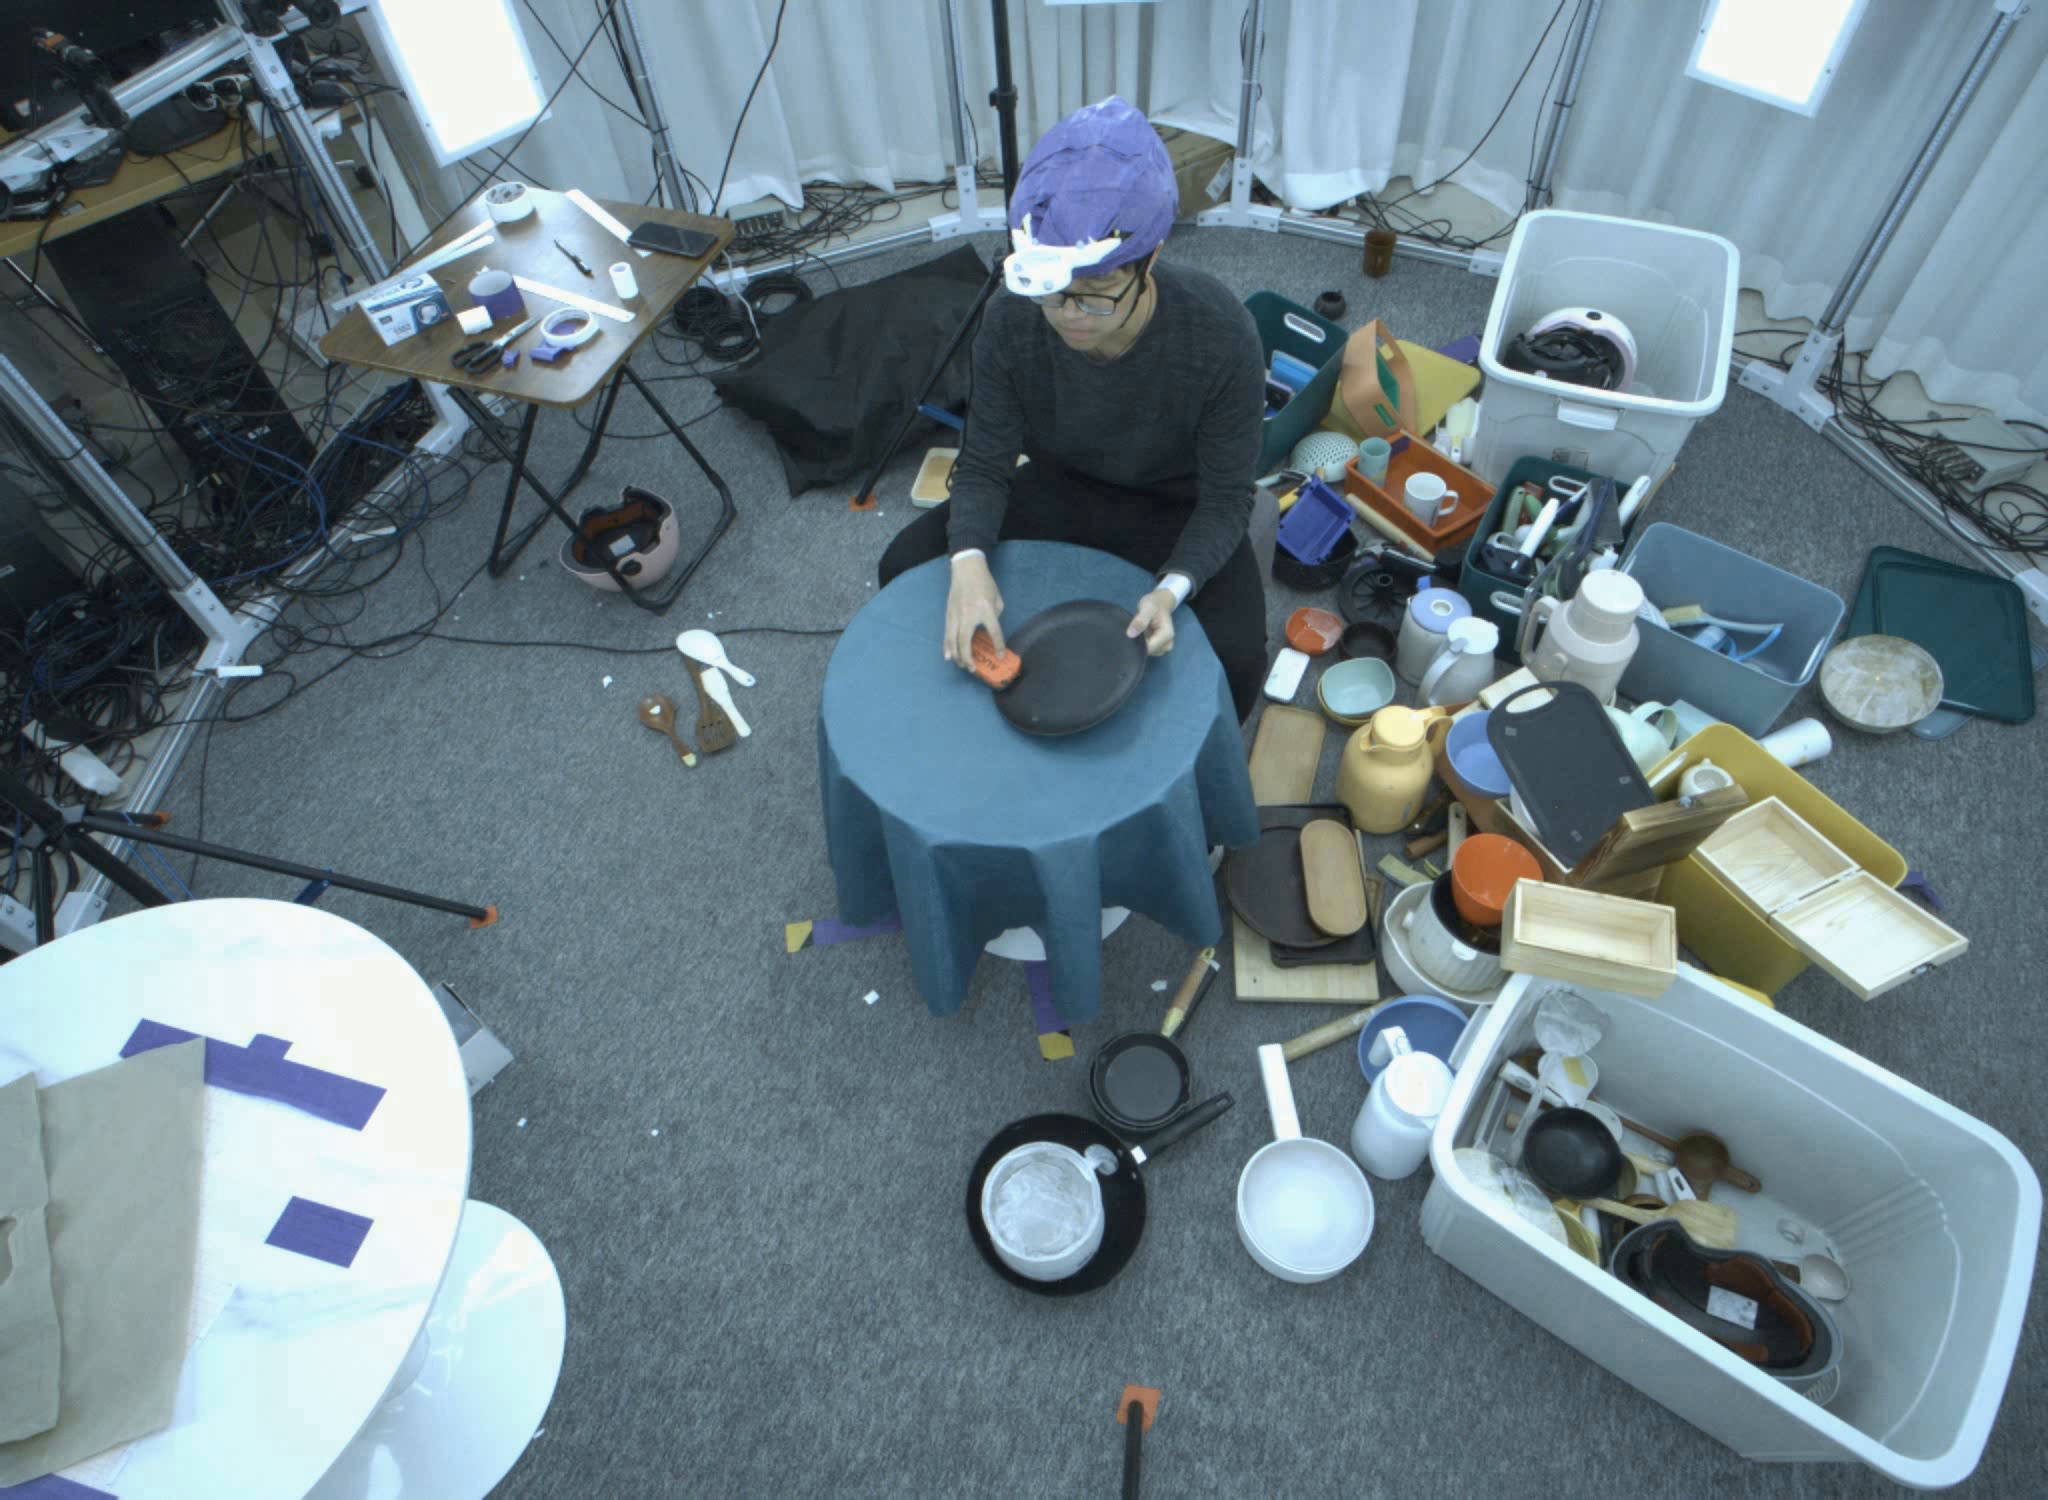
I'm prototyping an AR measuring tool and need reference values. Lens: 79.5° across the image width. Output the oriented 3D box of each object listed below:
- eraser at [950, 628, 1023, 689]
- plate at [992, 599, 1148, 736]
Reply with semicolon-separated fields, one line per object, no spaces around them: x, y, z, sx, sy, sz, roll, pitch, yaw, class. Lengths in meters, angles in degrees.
-0.057;-0.139;1.853;0.106;0.023;0.059;35;62;23;eraser
0.068;-0.120;1.824;0.242;0.024;0.242;-10;57;17;plate
